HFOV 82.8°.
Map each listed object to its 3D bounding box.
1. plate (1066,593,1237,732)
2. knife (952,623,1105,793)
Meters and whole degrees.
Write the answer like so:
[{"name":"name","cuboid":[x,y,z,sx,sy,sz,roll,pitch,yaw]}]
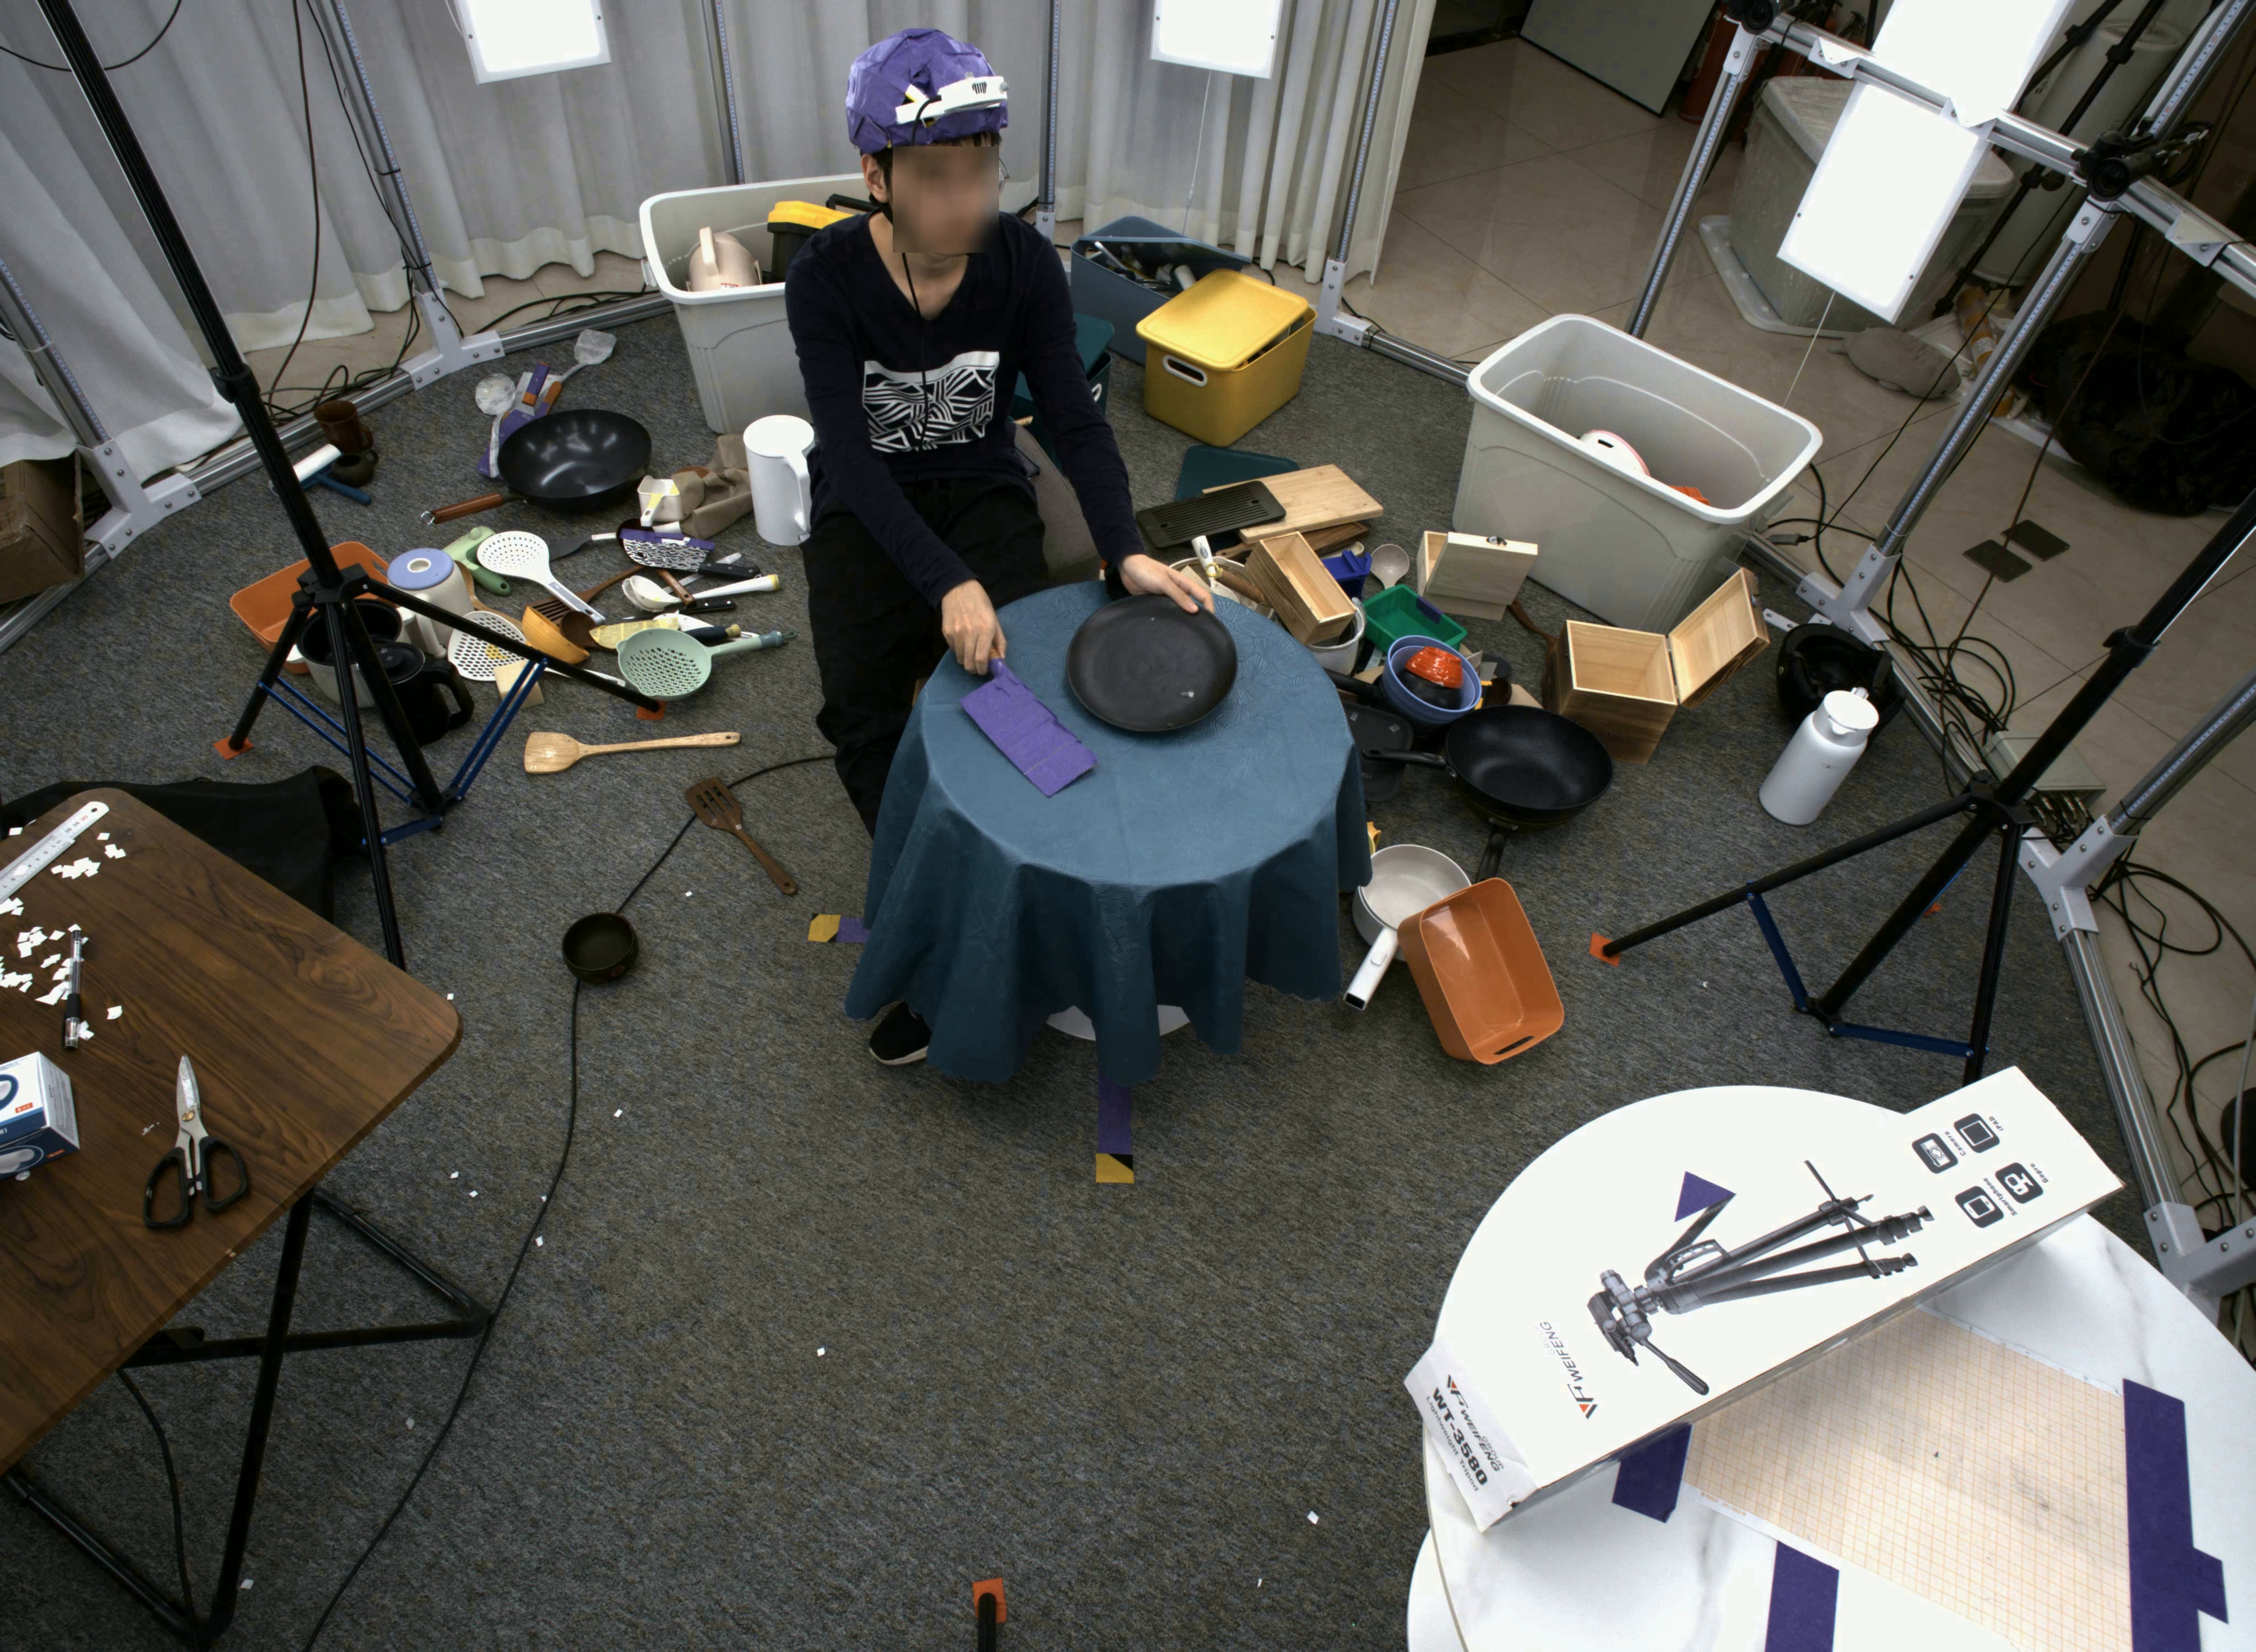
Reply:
[{"name":"plate","cuboid":[0.033,-0.232,1.832,0.244,0.023,0.250,-2,59,2]},{"name":"knife","cuboid":[-0.167,-0.167,1.774,0.104,0.031,0.321,-33,60,-21]}]
